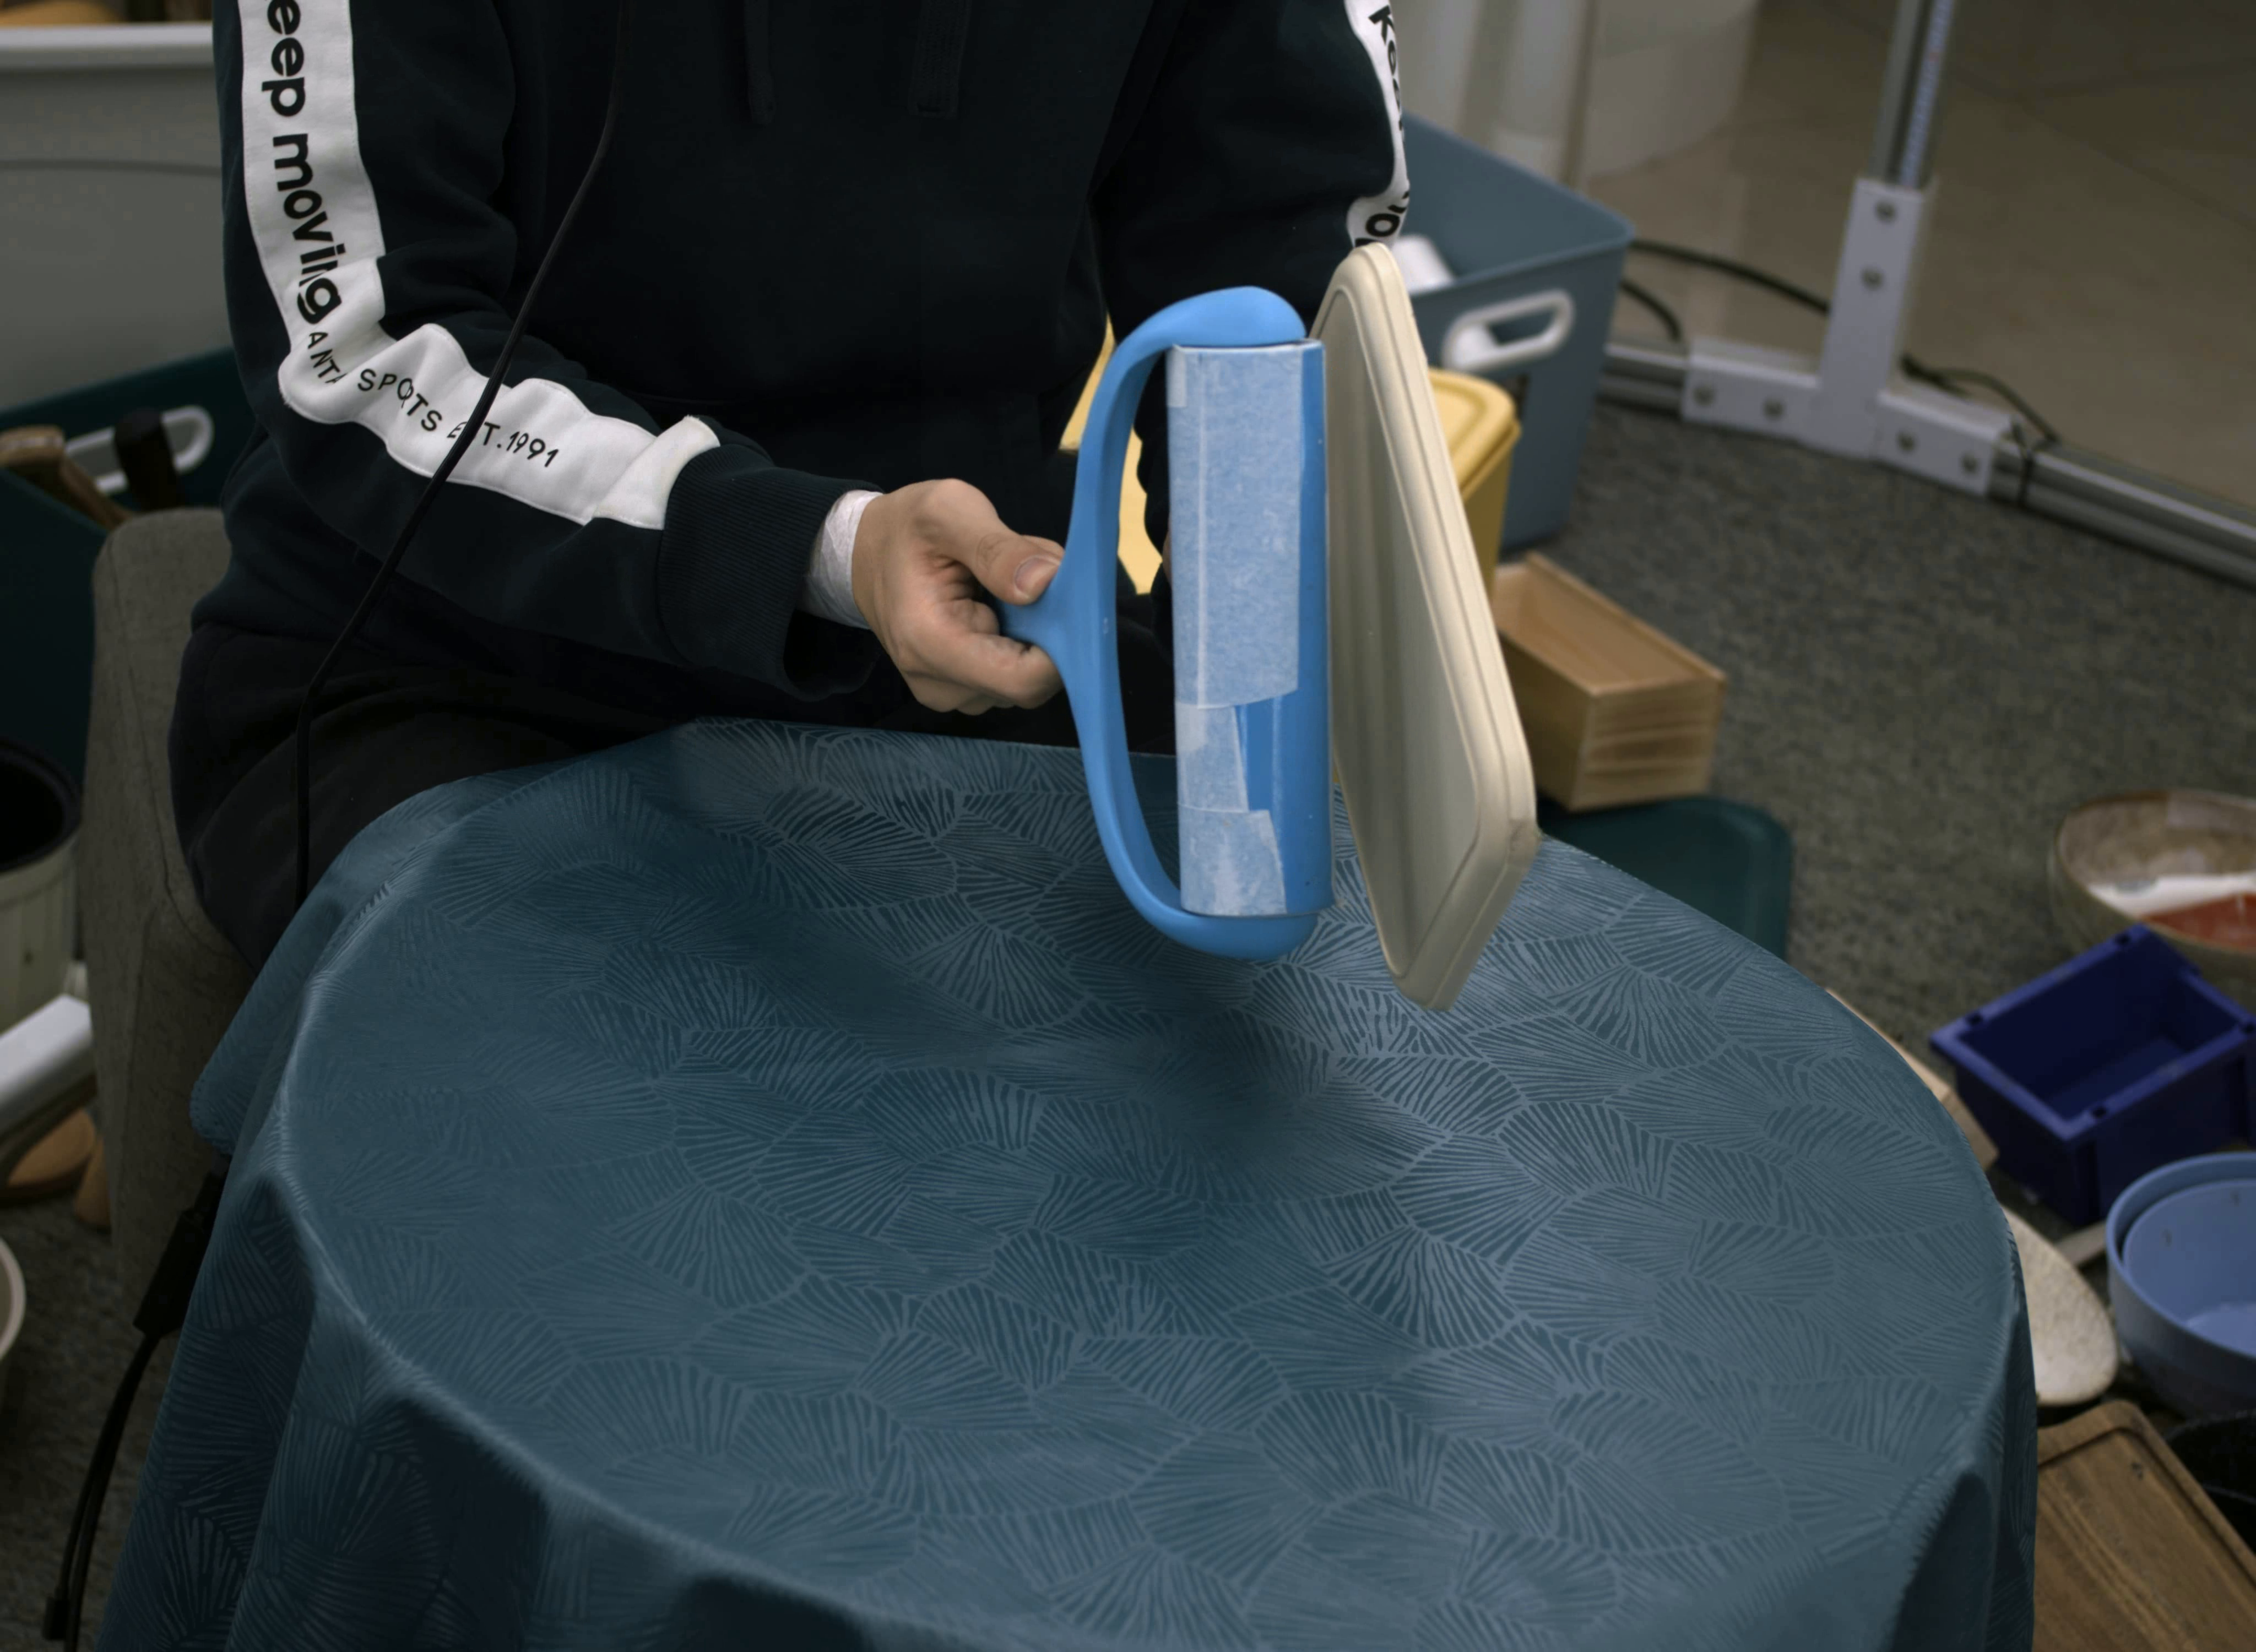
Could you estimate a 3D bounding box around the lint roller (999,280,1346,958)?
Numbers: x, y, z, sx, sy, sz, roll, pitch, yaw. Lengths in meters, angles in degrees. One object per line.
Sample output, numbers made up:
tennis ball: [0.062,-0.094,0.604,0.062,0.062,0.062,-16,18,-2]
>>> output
lint roller: [0.001,-0.071,1.838,0.067,0.229,0.181,-10,9,-43]

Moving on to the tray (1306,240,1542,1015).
tray: [0.091,-0.067,1.829,0.017,0.171,0.241,-6,65,-14]
